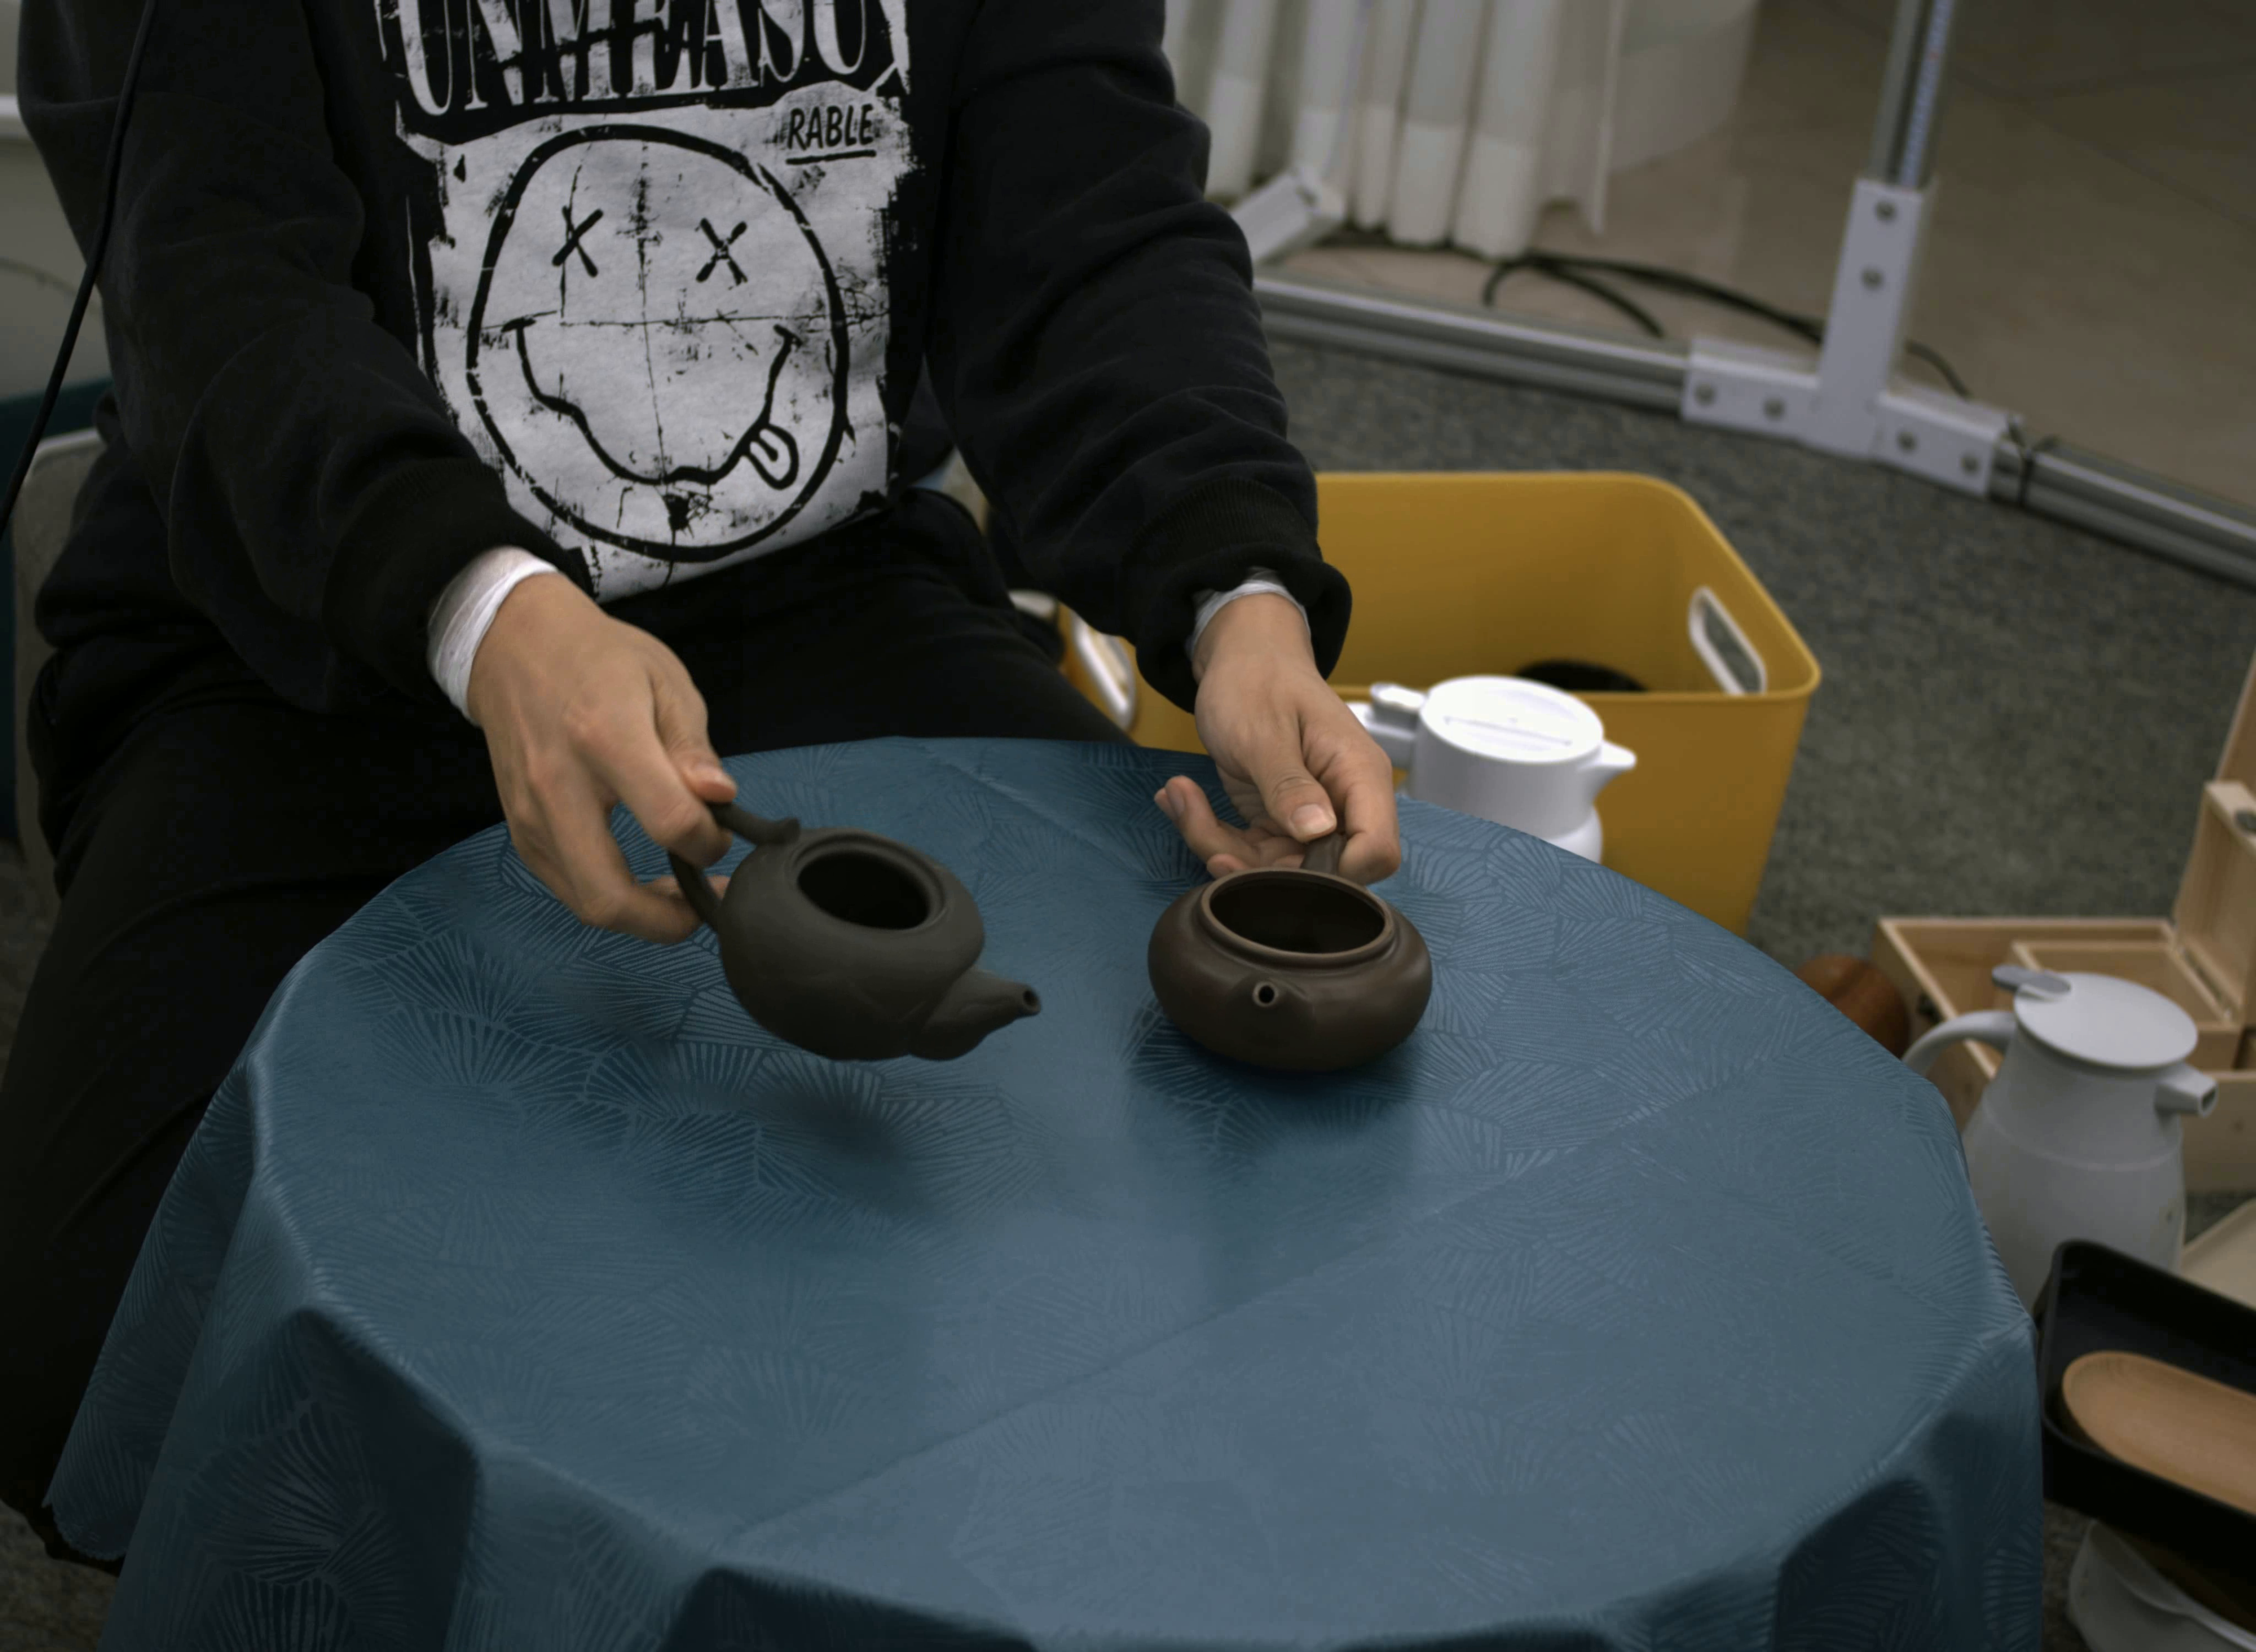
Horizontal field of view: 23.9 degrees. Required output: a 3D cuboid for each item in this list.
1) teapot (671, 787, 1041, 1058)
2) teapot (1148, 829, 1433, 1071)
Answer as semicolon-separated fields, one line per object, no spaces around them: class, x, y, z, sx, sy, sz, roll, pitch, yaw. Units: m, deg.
teapot;-0.096;0.037;1.810;0.155;0.064;0.092;32;32;21
teapot;0.059;0.047;1.908;0.102;0.053;0.154;10;27;2
